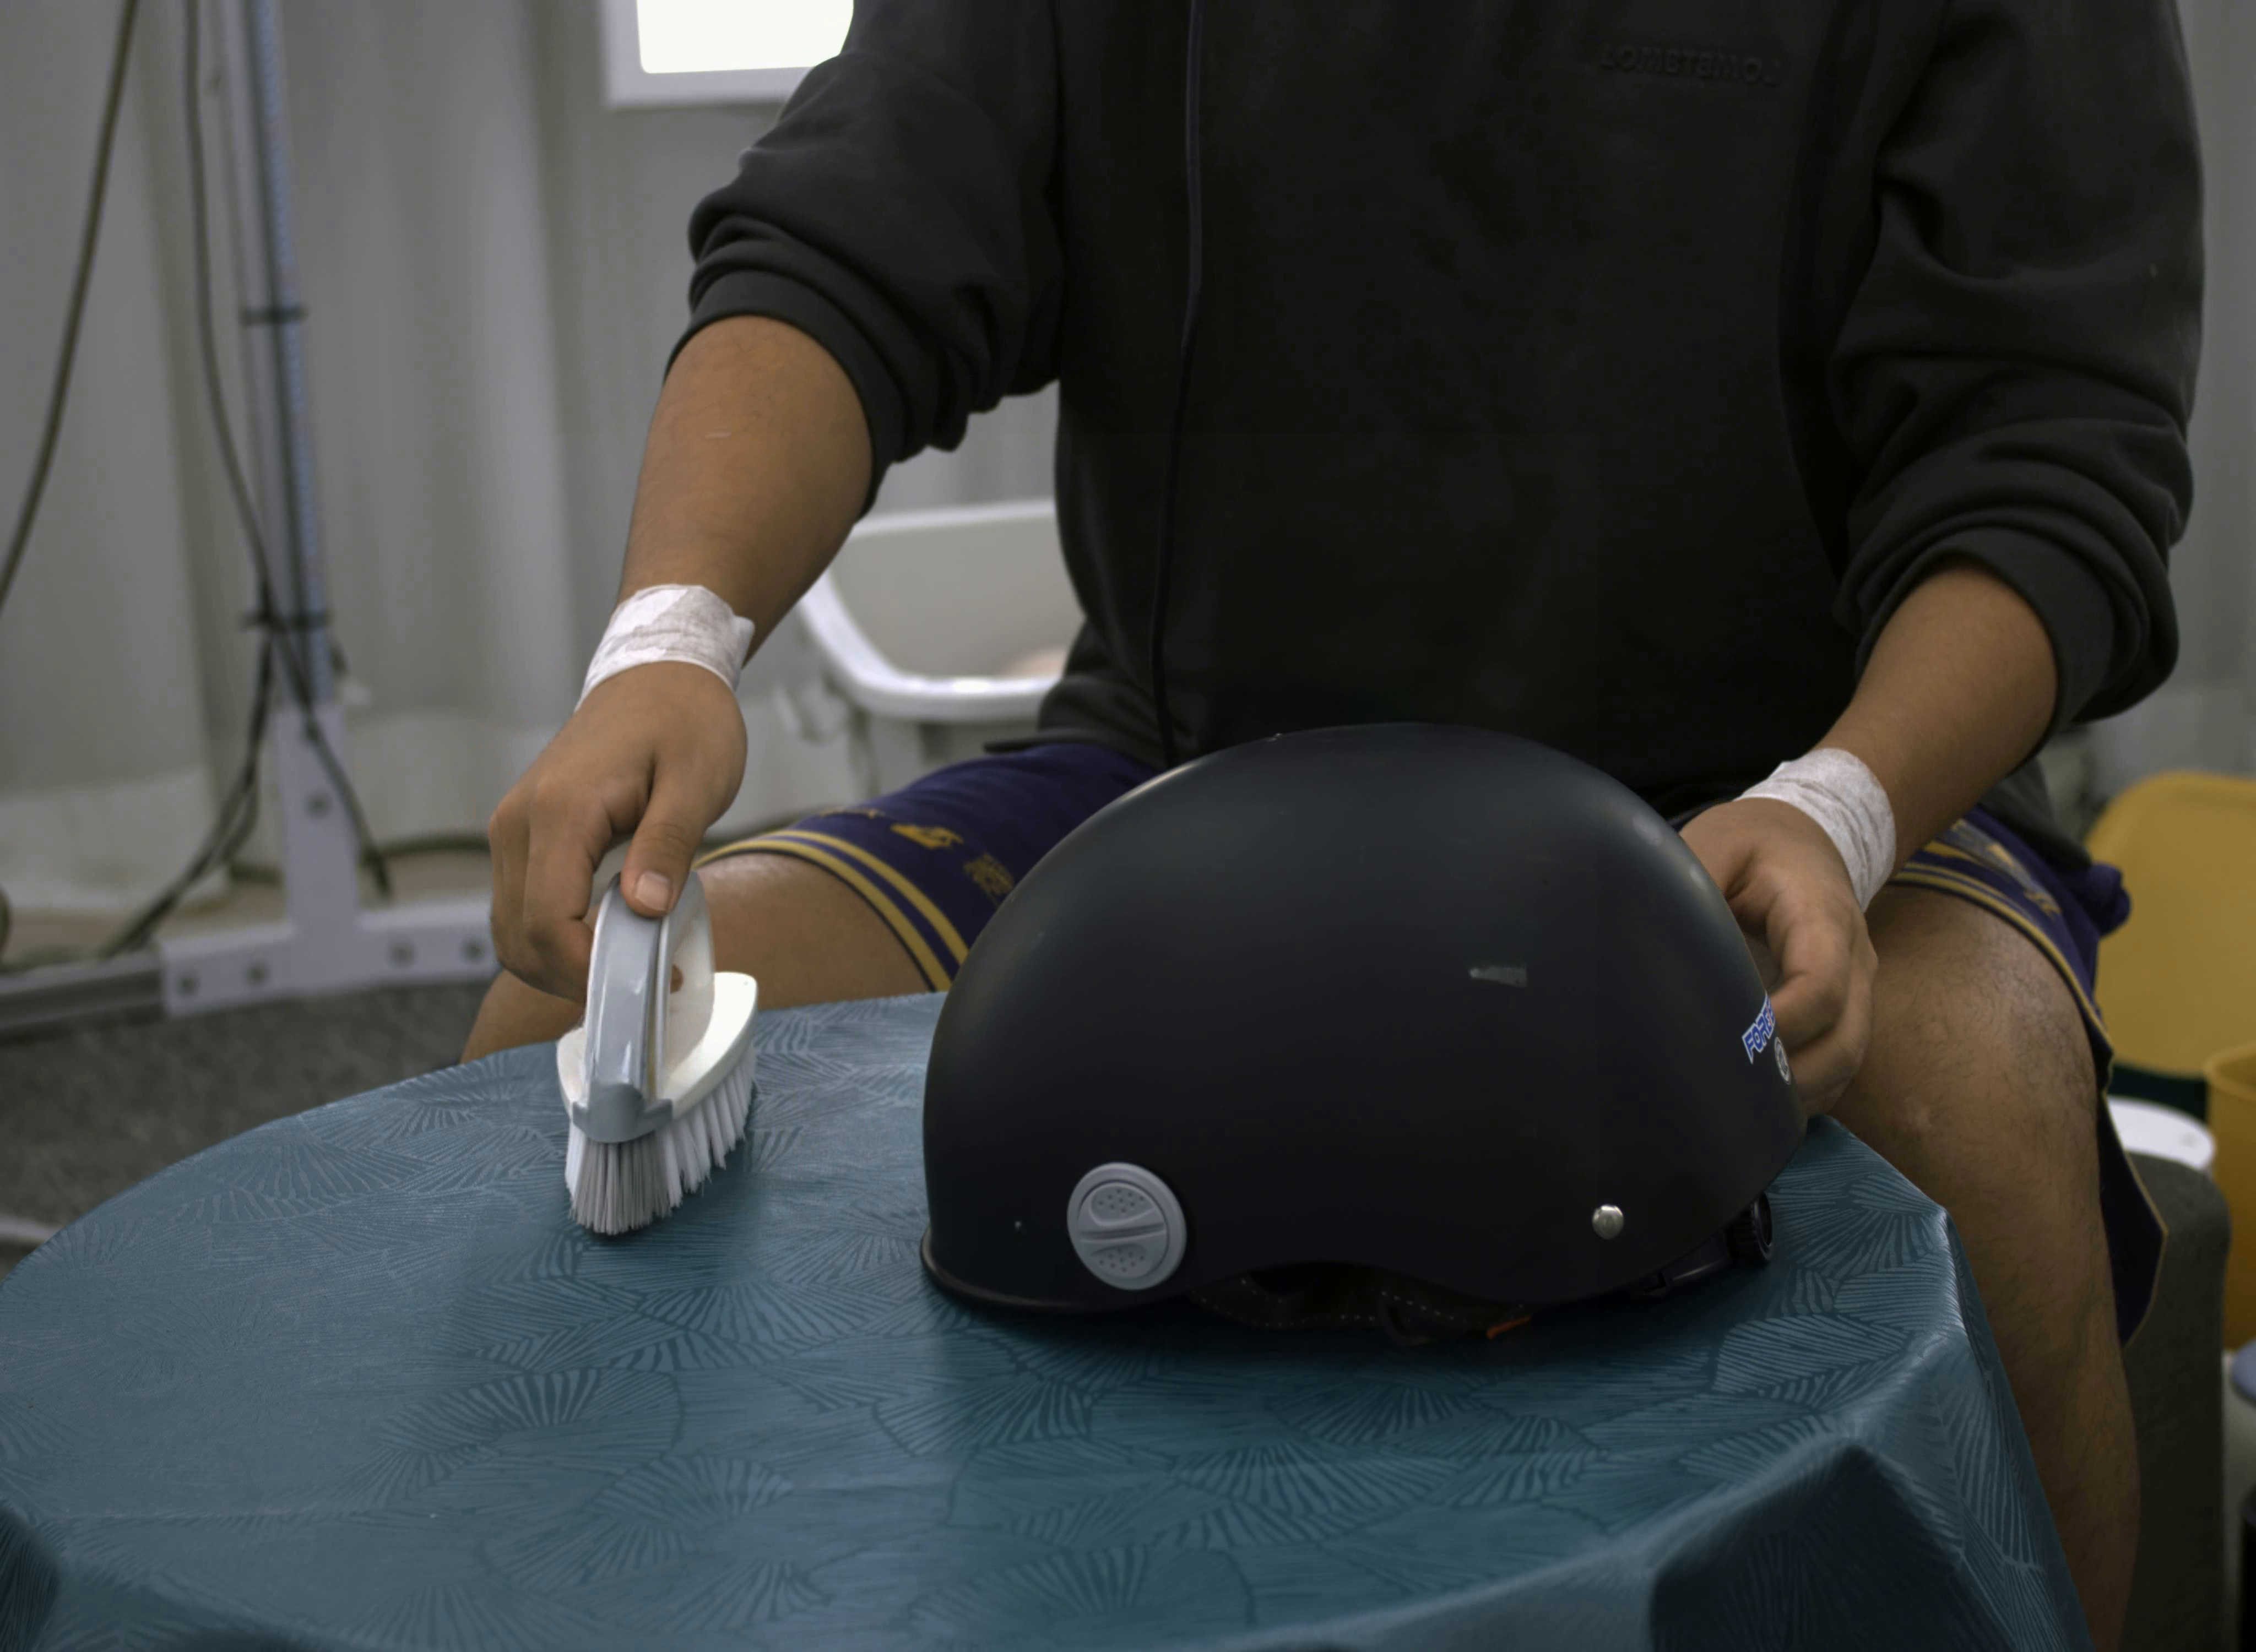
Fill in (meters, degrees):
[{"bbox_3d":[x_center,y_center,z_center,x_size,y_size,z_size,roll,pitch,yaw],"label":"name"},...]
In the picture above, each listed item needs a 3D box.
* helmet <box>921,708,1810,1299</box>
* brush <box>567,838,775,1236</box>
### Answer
[{"bbox_3d":[0.065,0.050,1.639,0.273,0.166,0.231,0,14,19],"label":"helmet"},{"bbox_3d":[-0.153,0.062,1.764,0.061,0.094,0.177,-1,18,5],"label":"brush"}]
